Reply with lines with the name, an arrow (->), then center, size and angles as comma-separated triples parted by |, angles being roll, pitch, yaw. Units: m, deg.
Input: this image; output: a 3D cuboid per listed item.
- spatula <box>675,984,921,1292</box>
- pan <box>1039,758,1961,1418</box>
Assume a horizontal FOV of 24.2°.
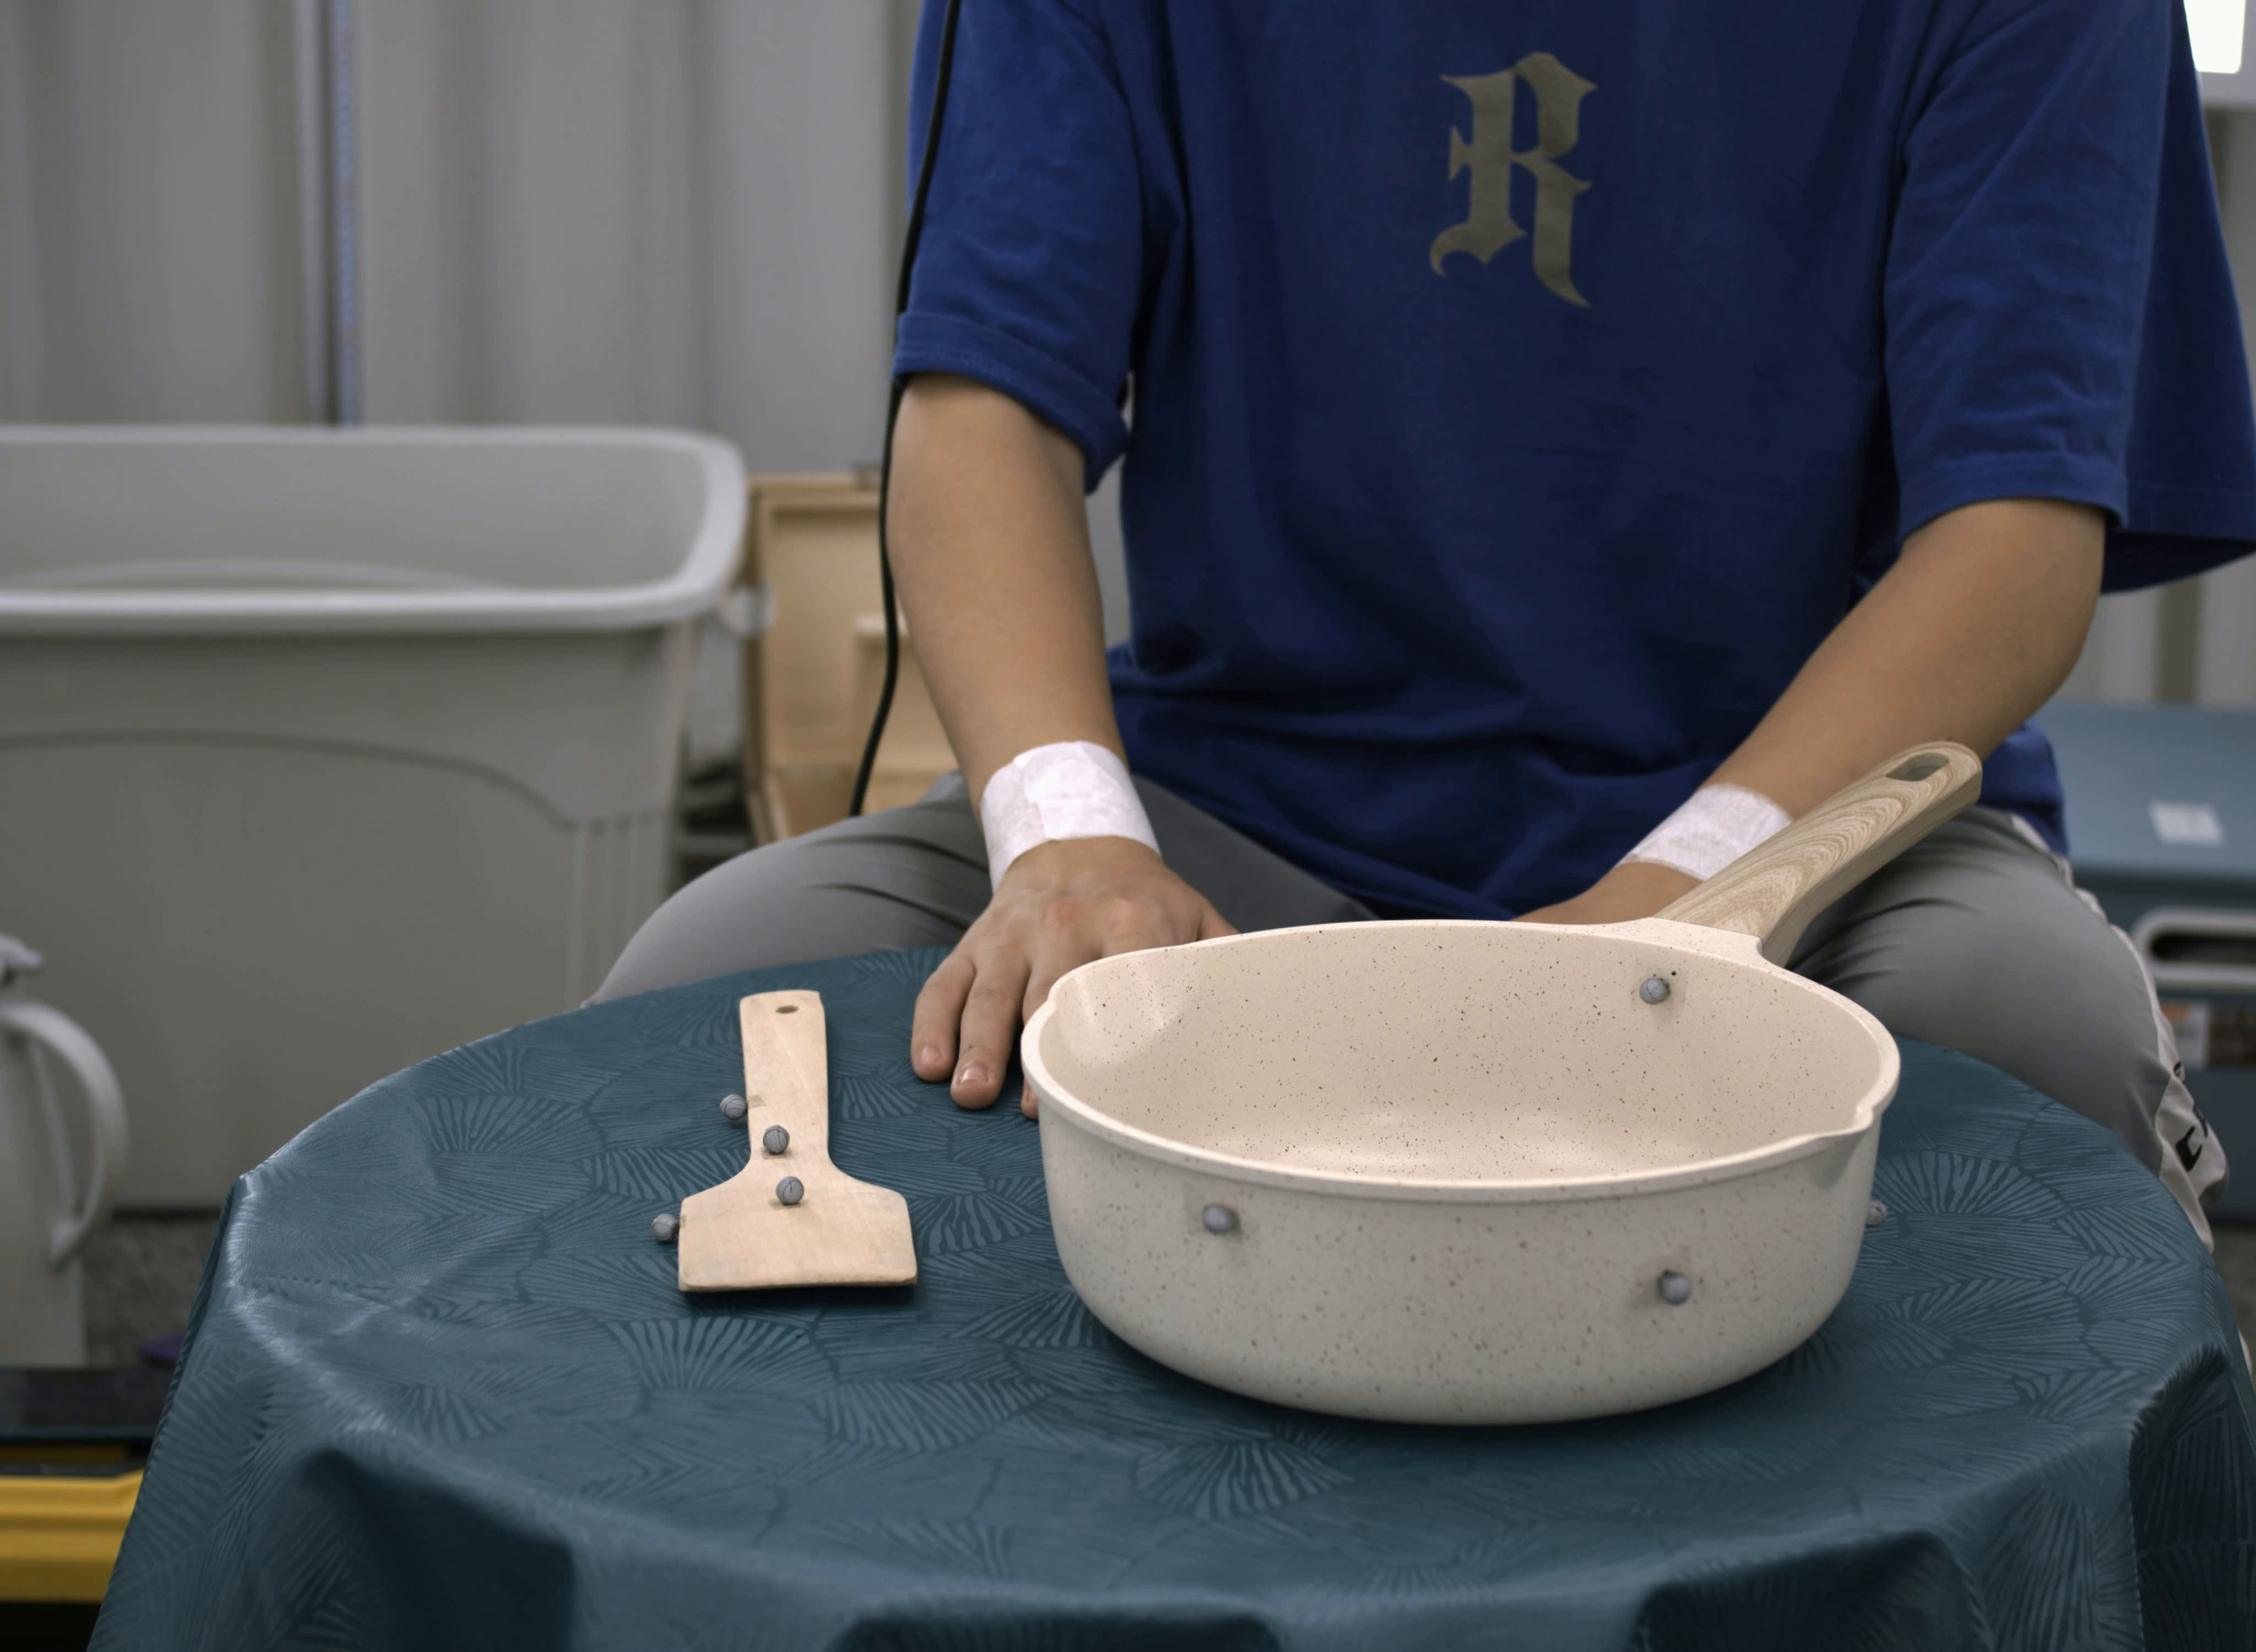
spatula -> -0.107, 0.096, 1.660 | 0.072, 0.011, 0.291 | -2, 16, -4
pan -> 0.150, 0.073, 1.583 | 0.260, 0.103, 0.436 | 9, 17, 32
